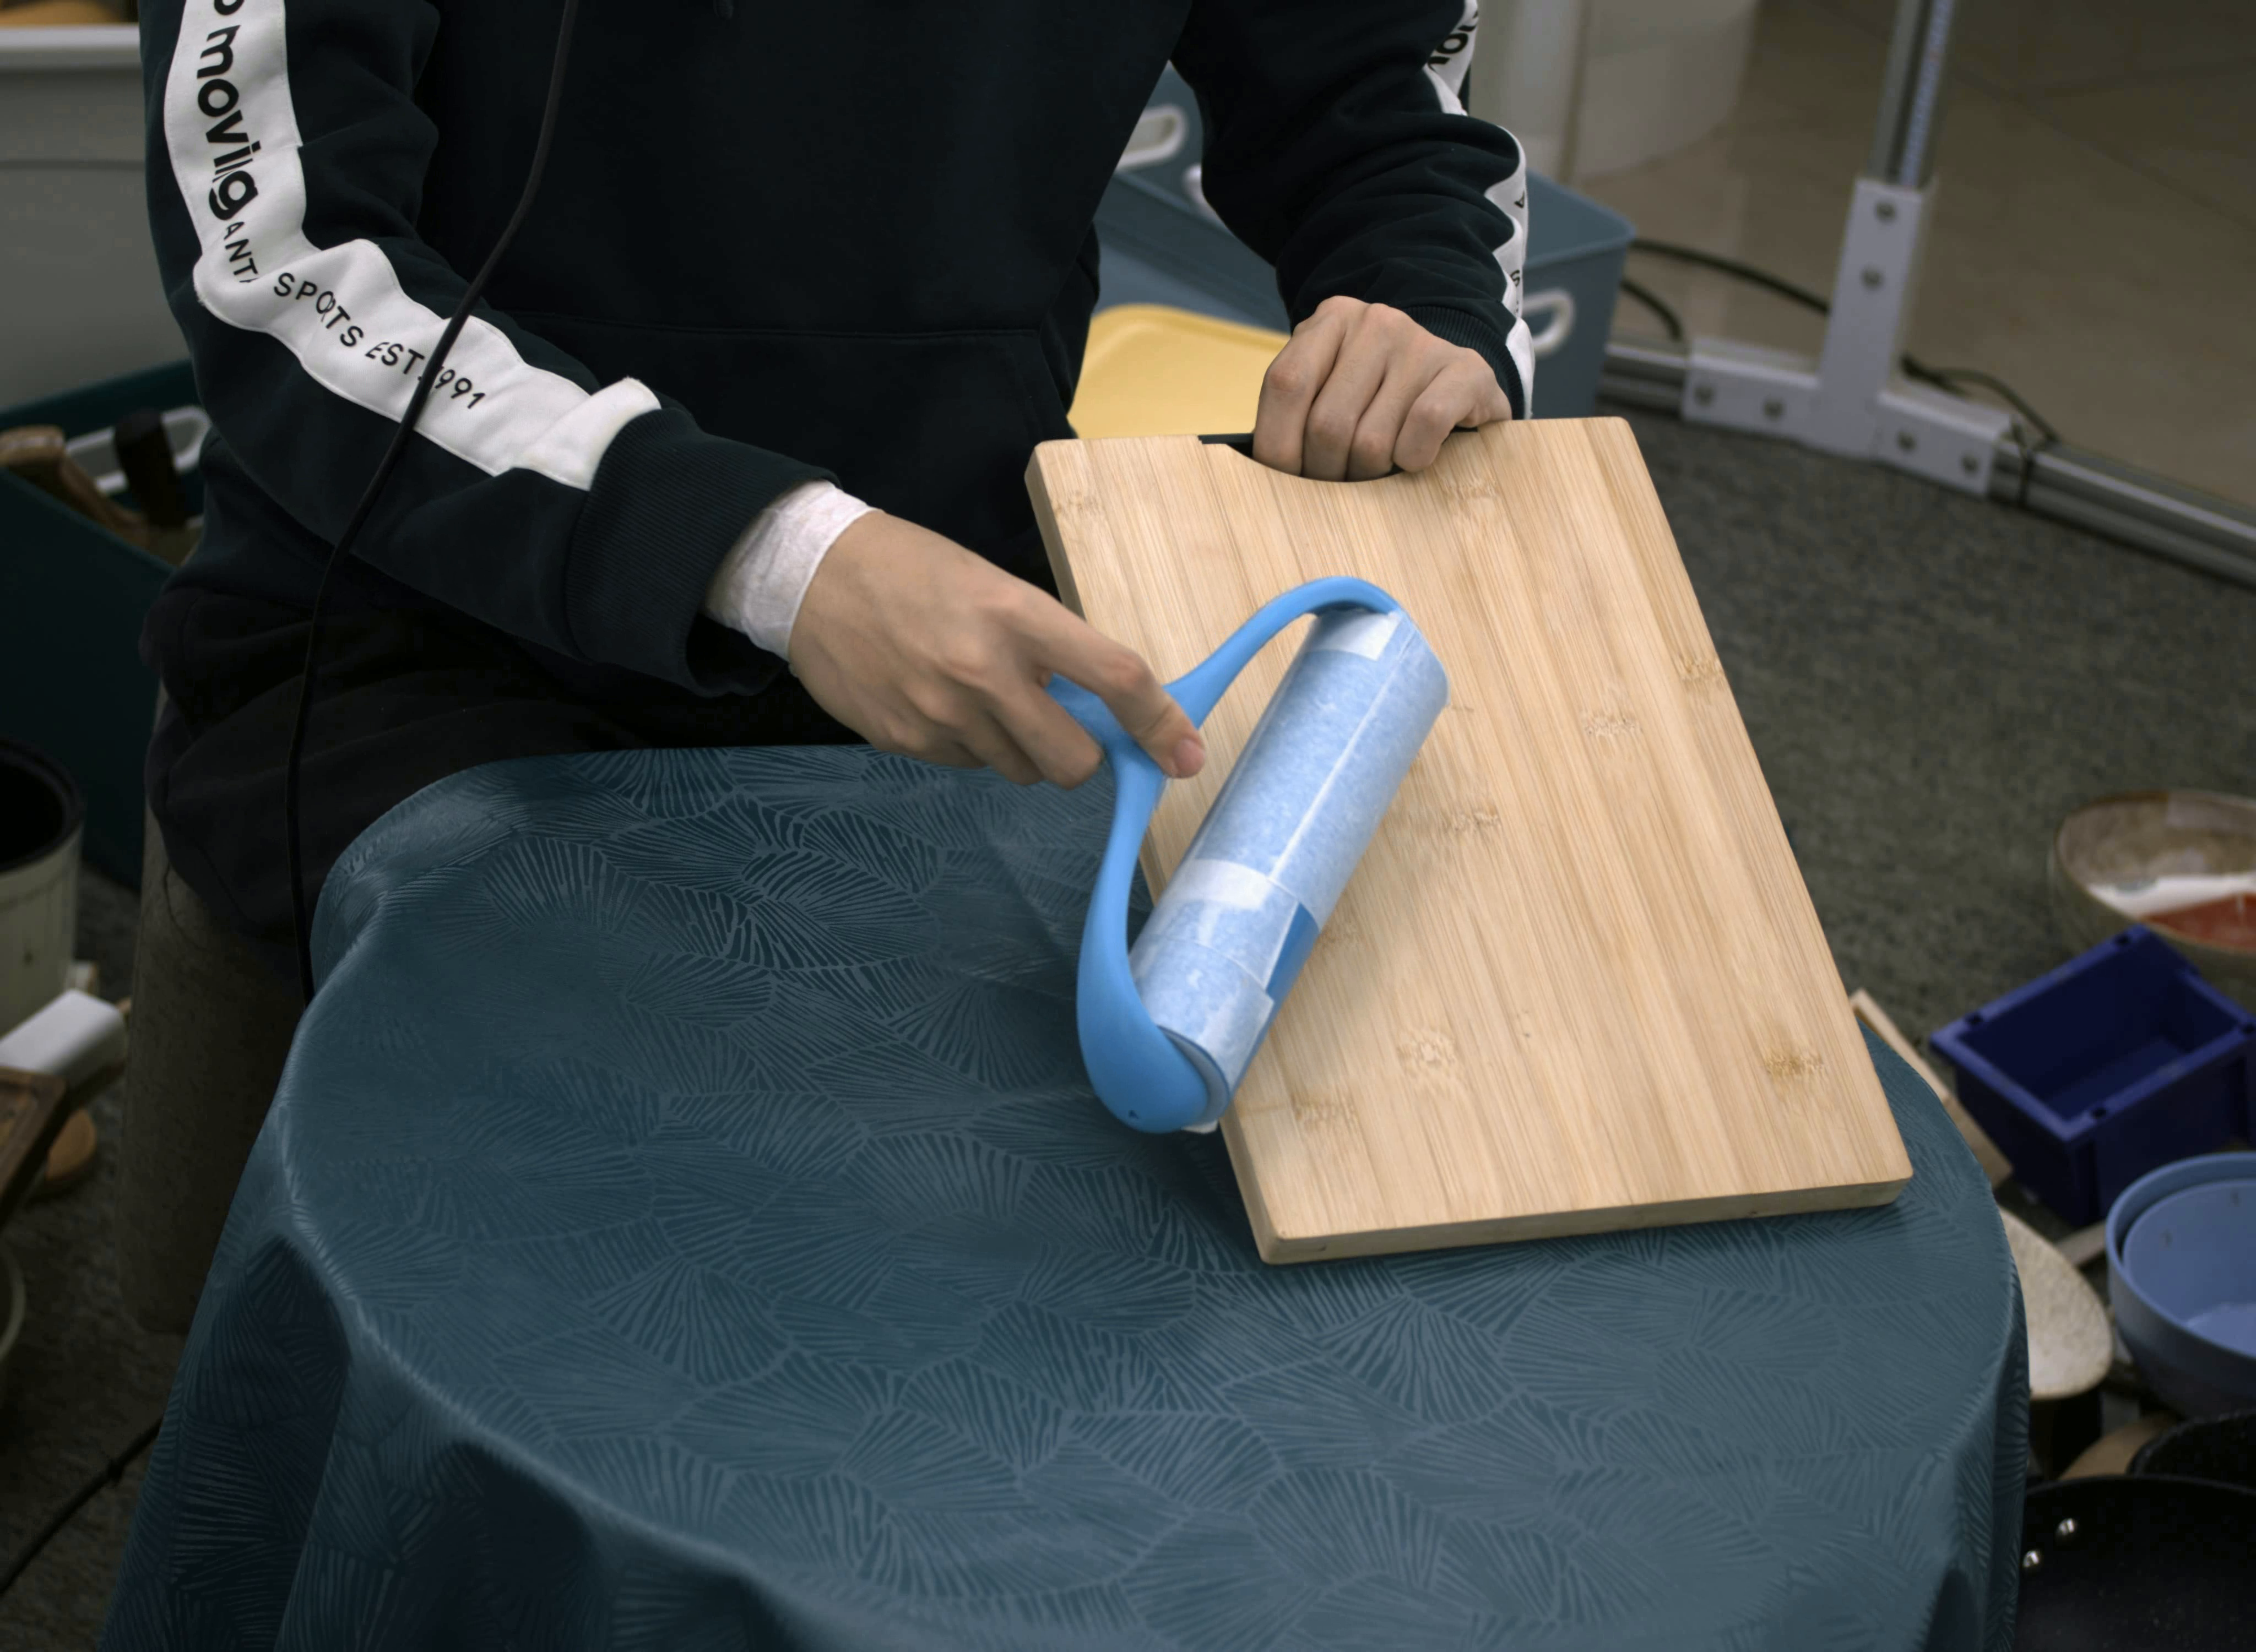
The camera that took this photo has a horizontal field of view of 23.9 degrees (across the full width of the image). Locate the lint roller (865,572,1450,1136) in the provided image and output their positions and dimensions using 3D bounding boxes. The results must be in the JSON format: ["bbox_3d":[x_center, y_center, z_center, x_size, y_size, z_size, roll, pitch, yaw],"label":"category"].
[{"bbox_3d":[-0.003,-0.016,1.788,0.180,0.068,0.230,27,56,-1],"label":"lint roller"}]

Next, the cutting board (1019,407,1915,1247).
[{"bbox_3d":[0.115,-0.007,1.893,0.249,0.023,0.352,-4,55,-20],"label":"cutting board"}]
